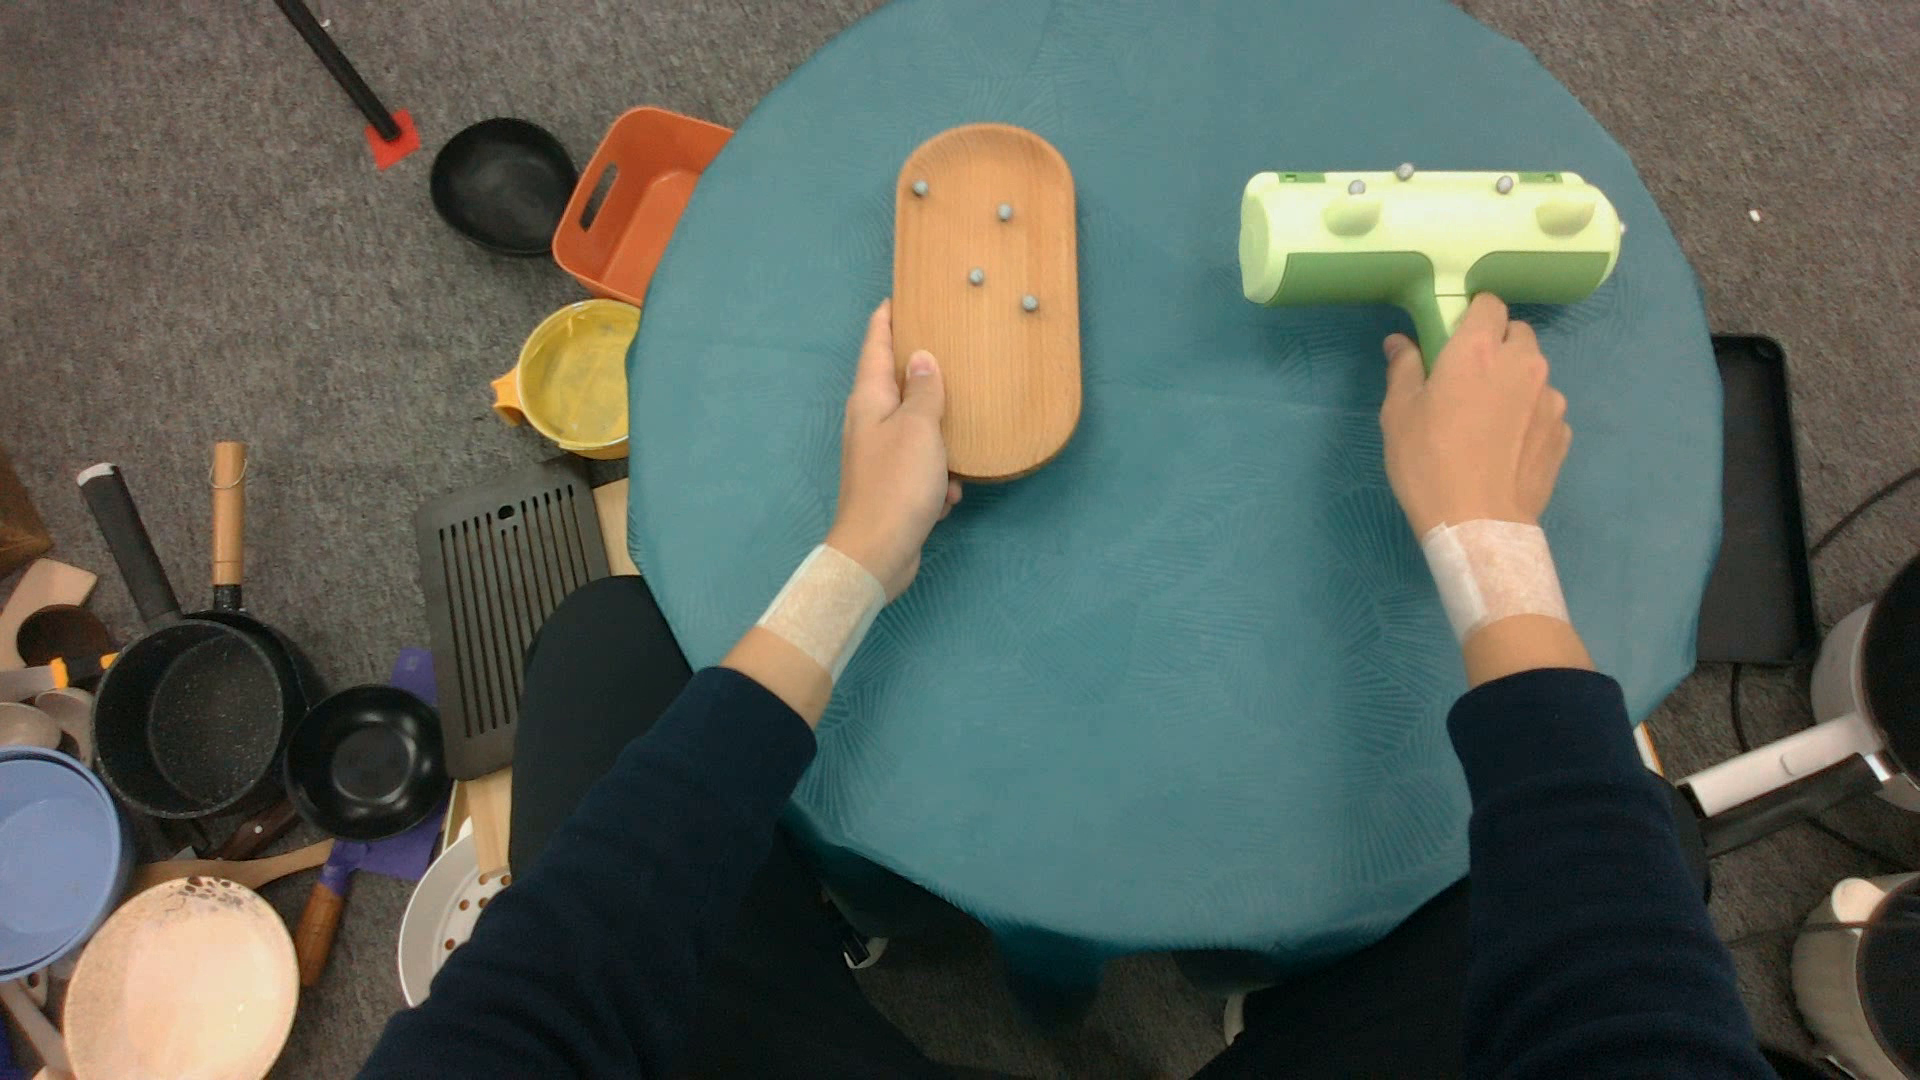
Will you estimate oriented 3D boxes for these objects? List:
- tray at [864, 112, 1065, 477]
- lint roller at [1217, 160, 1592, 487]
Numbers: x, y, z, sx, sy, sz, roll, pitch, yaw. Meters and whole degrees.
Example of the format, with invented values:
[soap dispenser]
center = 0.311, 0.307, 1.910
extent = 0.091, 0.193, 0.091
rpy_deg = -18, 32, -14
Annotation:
[tray]
center = 0.000, -0.138, 0.749
extent = 0.102, 0.020, 0.232
rpy_deg = -3, 67, -1
[lint roller]
center = 0.242, -0.121, 0.691
extent = 0.199, 0.082, 0.184
rpy_deg = -4, 59, -11
